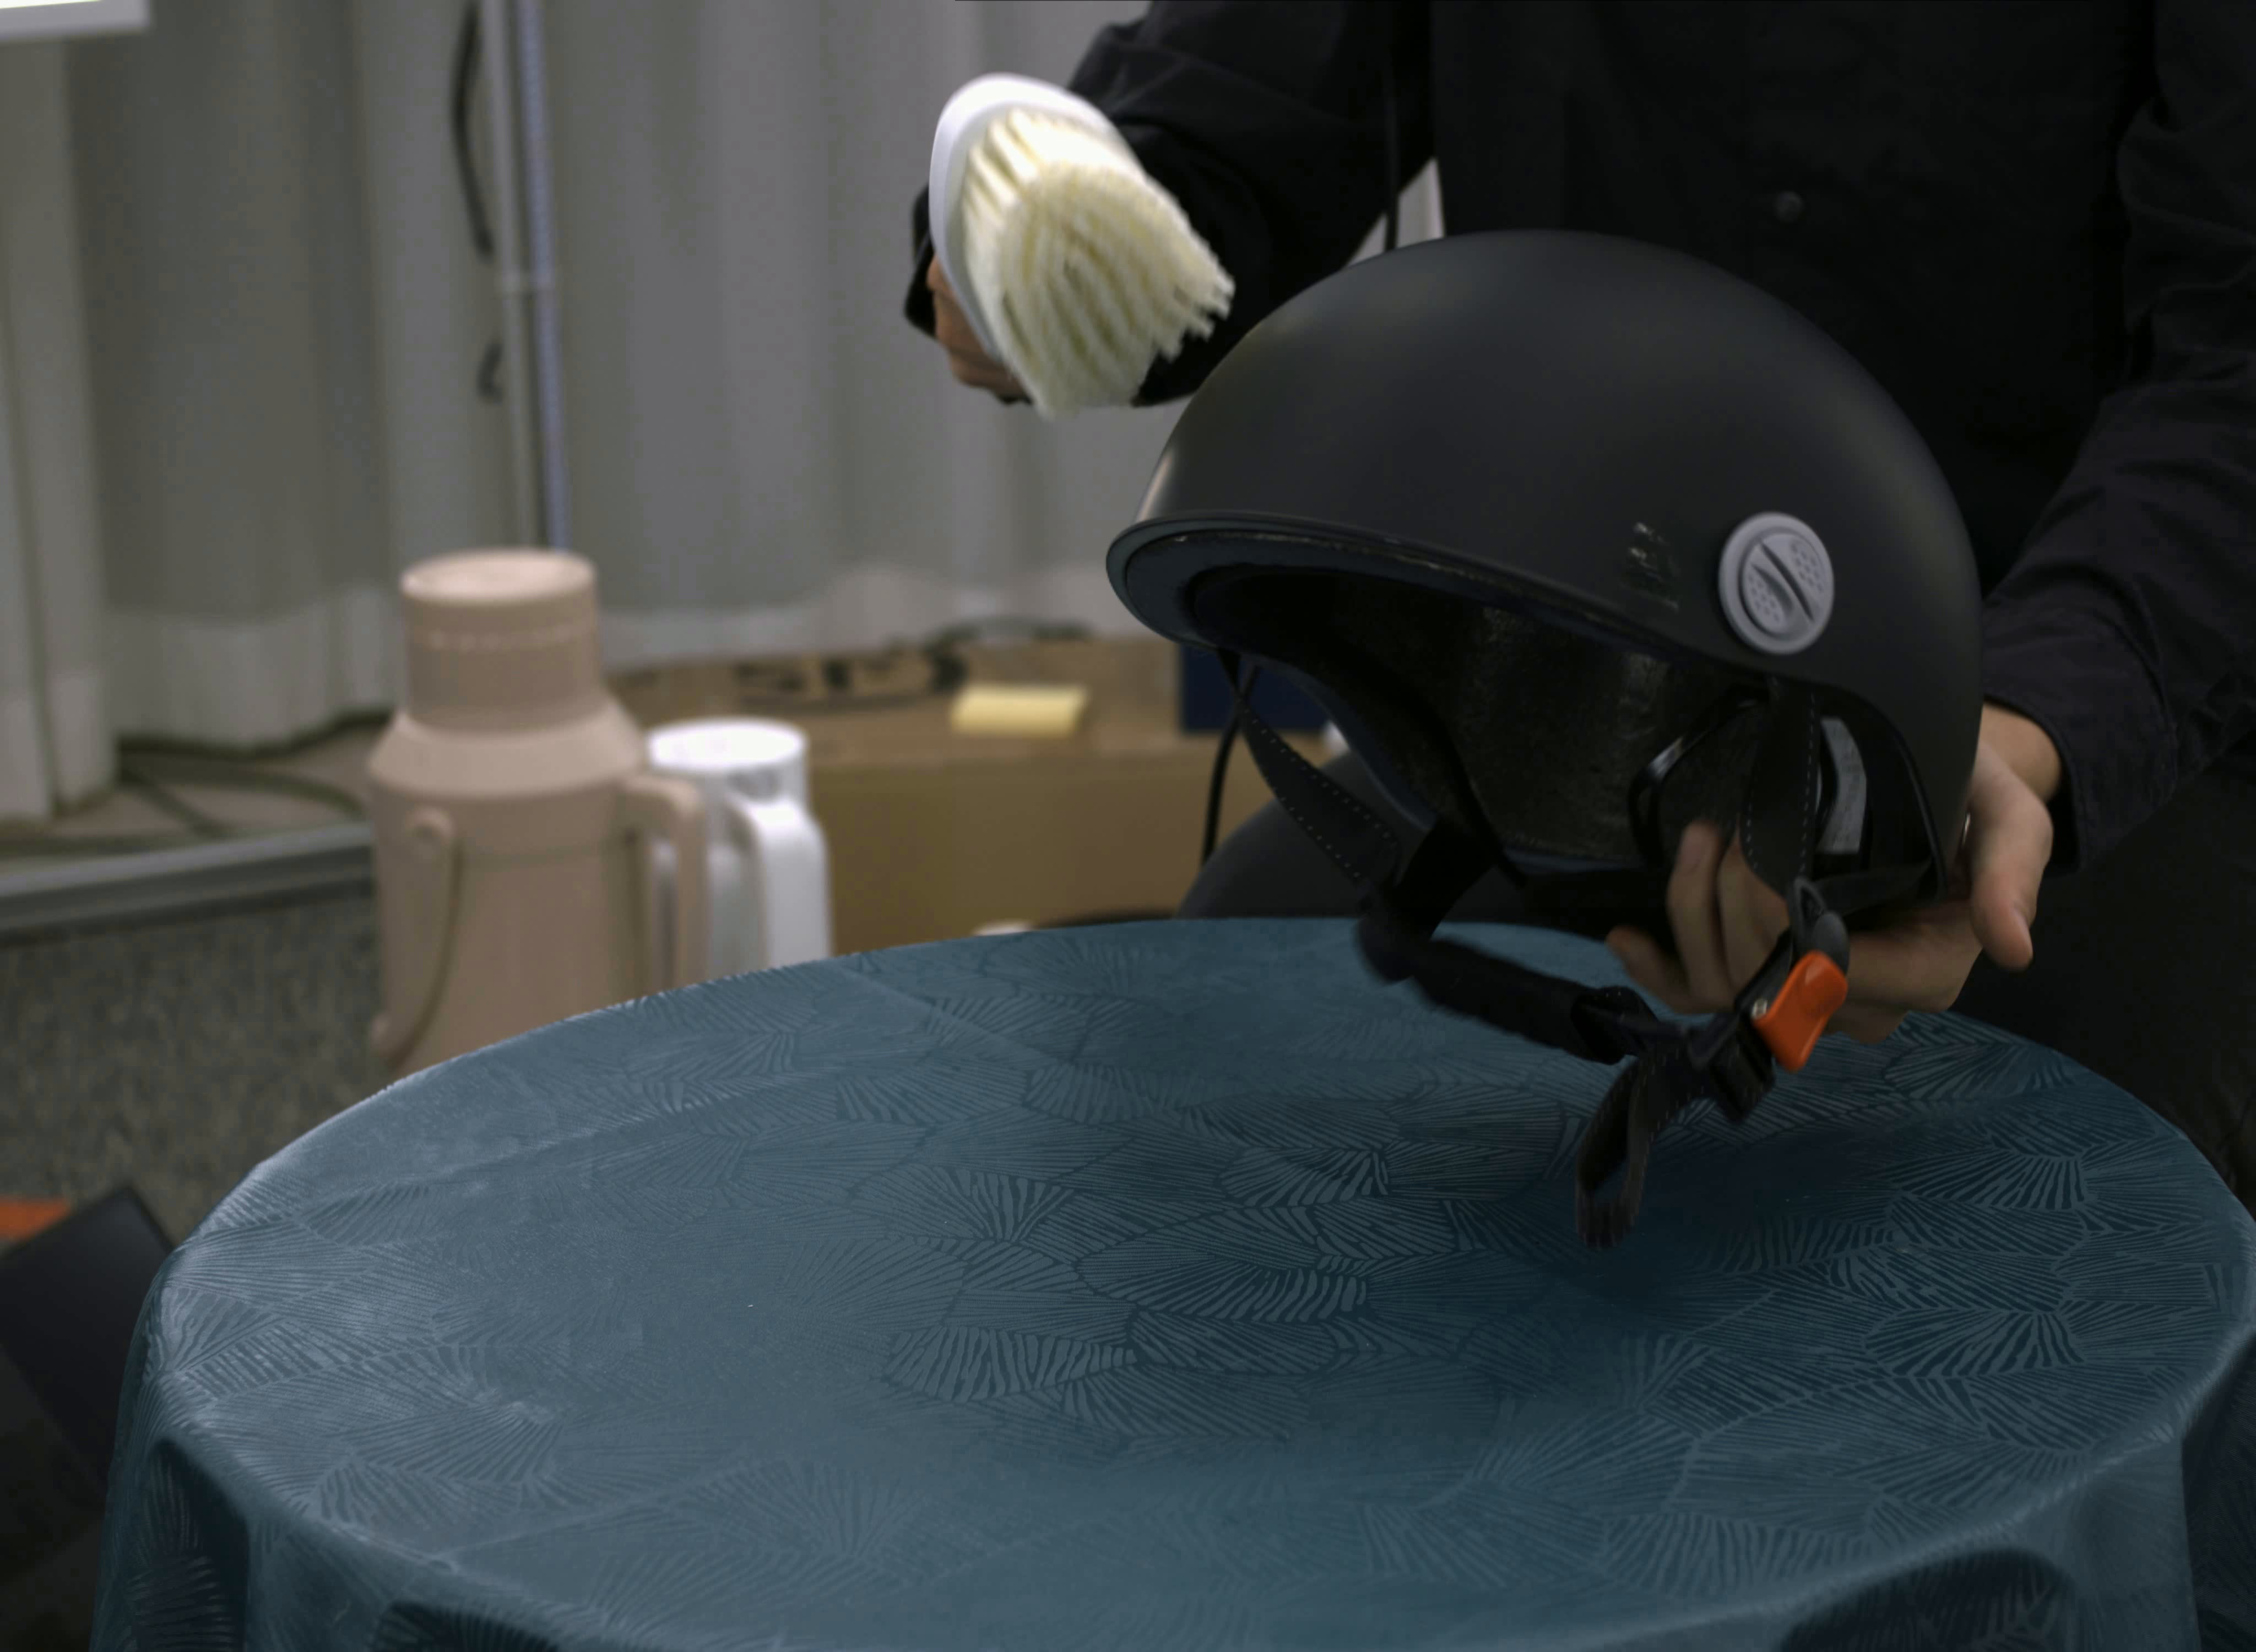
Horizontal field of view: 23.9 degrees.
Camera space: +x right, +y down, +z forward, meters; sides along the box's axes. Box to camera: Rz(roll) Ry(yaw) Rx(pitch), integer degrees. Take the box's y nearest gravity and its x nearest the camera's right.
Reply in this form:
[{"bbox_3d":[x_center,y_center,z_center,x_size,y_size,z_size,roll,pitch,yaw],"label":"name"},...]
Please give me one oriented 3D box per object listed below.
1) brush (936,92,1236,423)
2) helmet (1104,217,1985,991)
[{"bbox_3d":[-0.003,-0.156,1.678,0.083,0.085,0.323,-3,-9,5],"label":"brush"},{"bbox_3d":[0.134,-0.082,1.522,0.235,0.167,0.267,1,-29,48],"label":"helmet"}]
